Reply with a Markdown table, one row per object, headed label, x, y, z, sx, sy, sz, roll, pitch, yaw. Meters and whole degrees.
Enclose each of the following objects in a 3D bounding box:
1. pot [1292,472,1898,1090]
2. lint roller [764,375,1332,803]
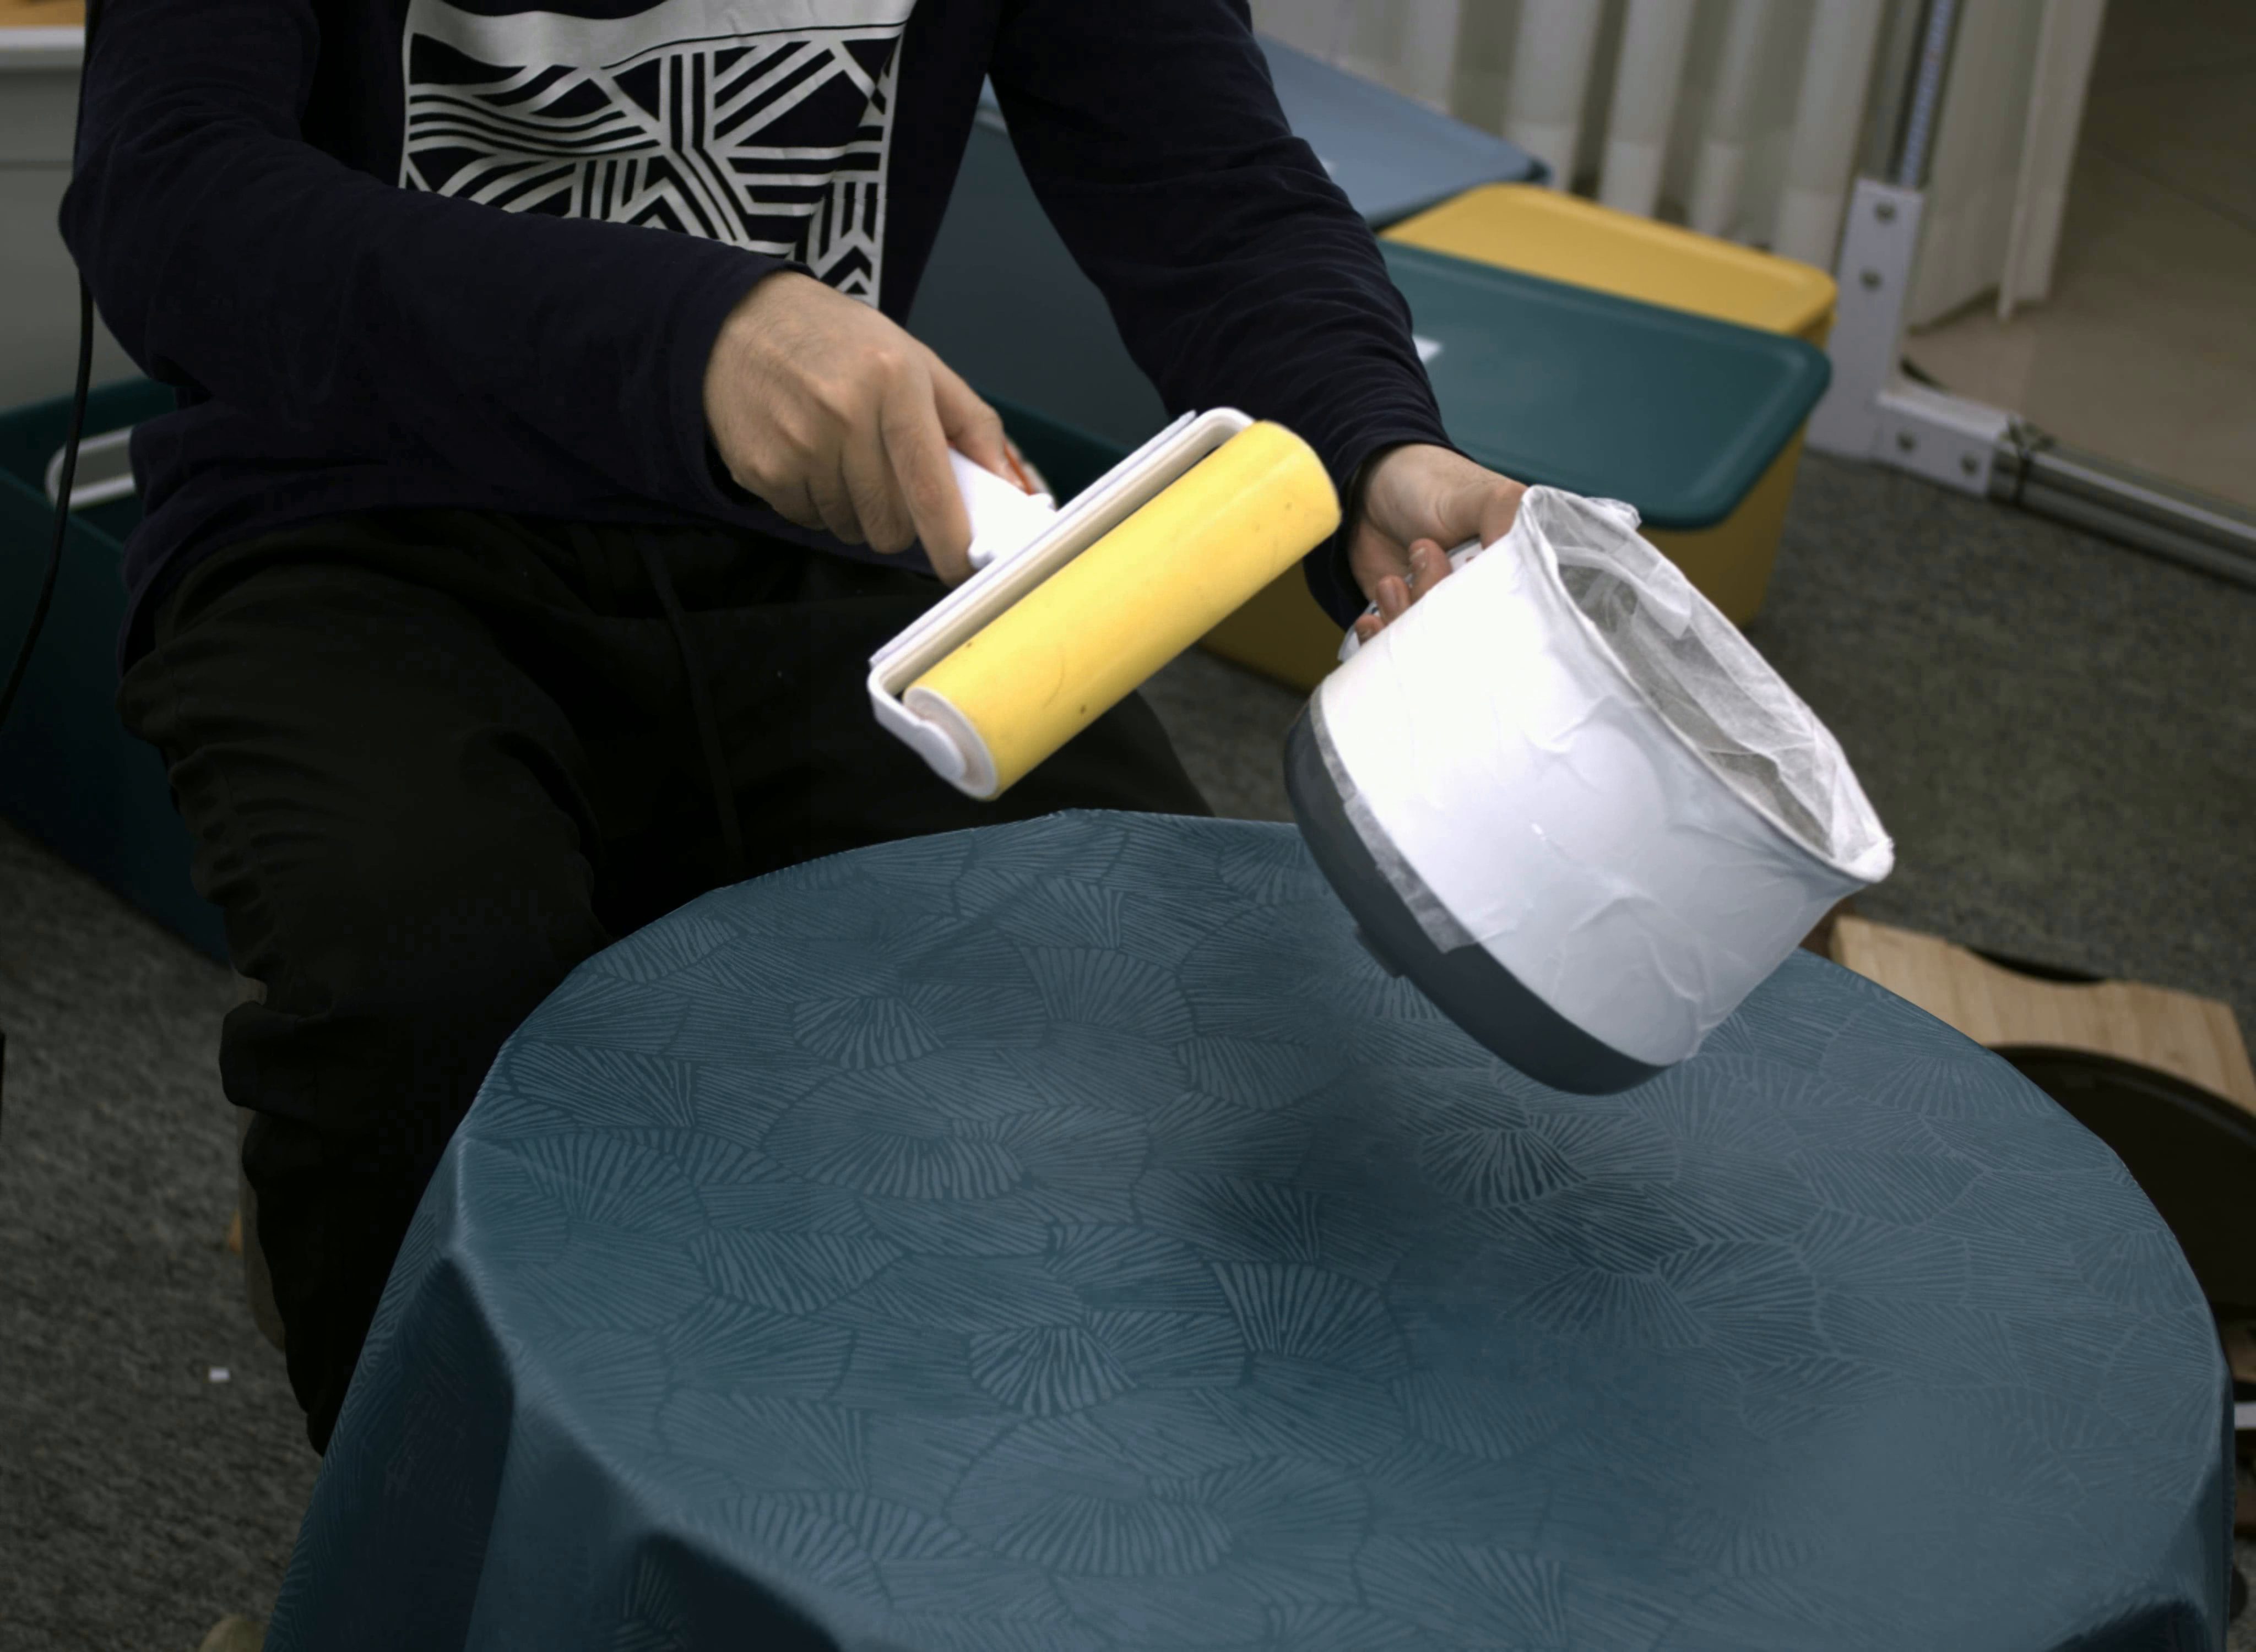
| label | x | y | z | sx | sy | sz | roll | pitch | yaw |
| --- | --- | --- | --- | --- | --- | --- | --- | --- | --- |
| pot | 0.146 | -0.028 | 1.814 | 0.177 | 0.136 | 0.236 | 35 | 23 | -35 |
| lint roller | -0.055 | -0.111 | 1.818 | 0.193 | 0.051 | 0.174 | 38 | 63 | 25 |
